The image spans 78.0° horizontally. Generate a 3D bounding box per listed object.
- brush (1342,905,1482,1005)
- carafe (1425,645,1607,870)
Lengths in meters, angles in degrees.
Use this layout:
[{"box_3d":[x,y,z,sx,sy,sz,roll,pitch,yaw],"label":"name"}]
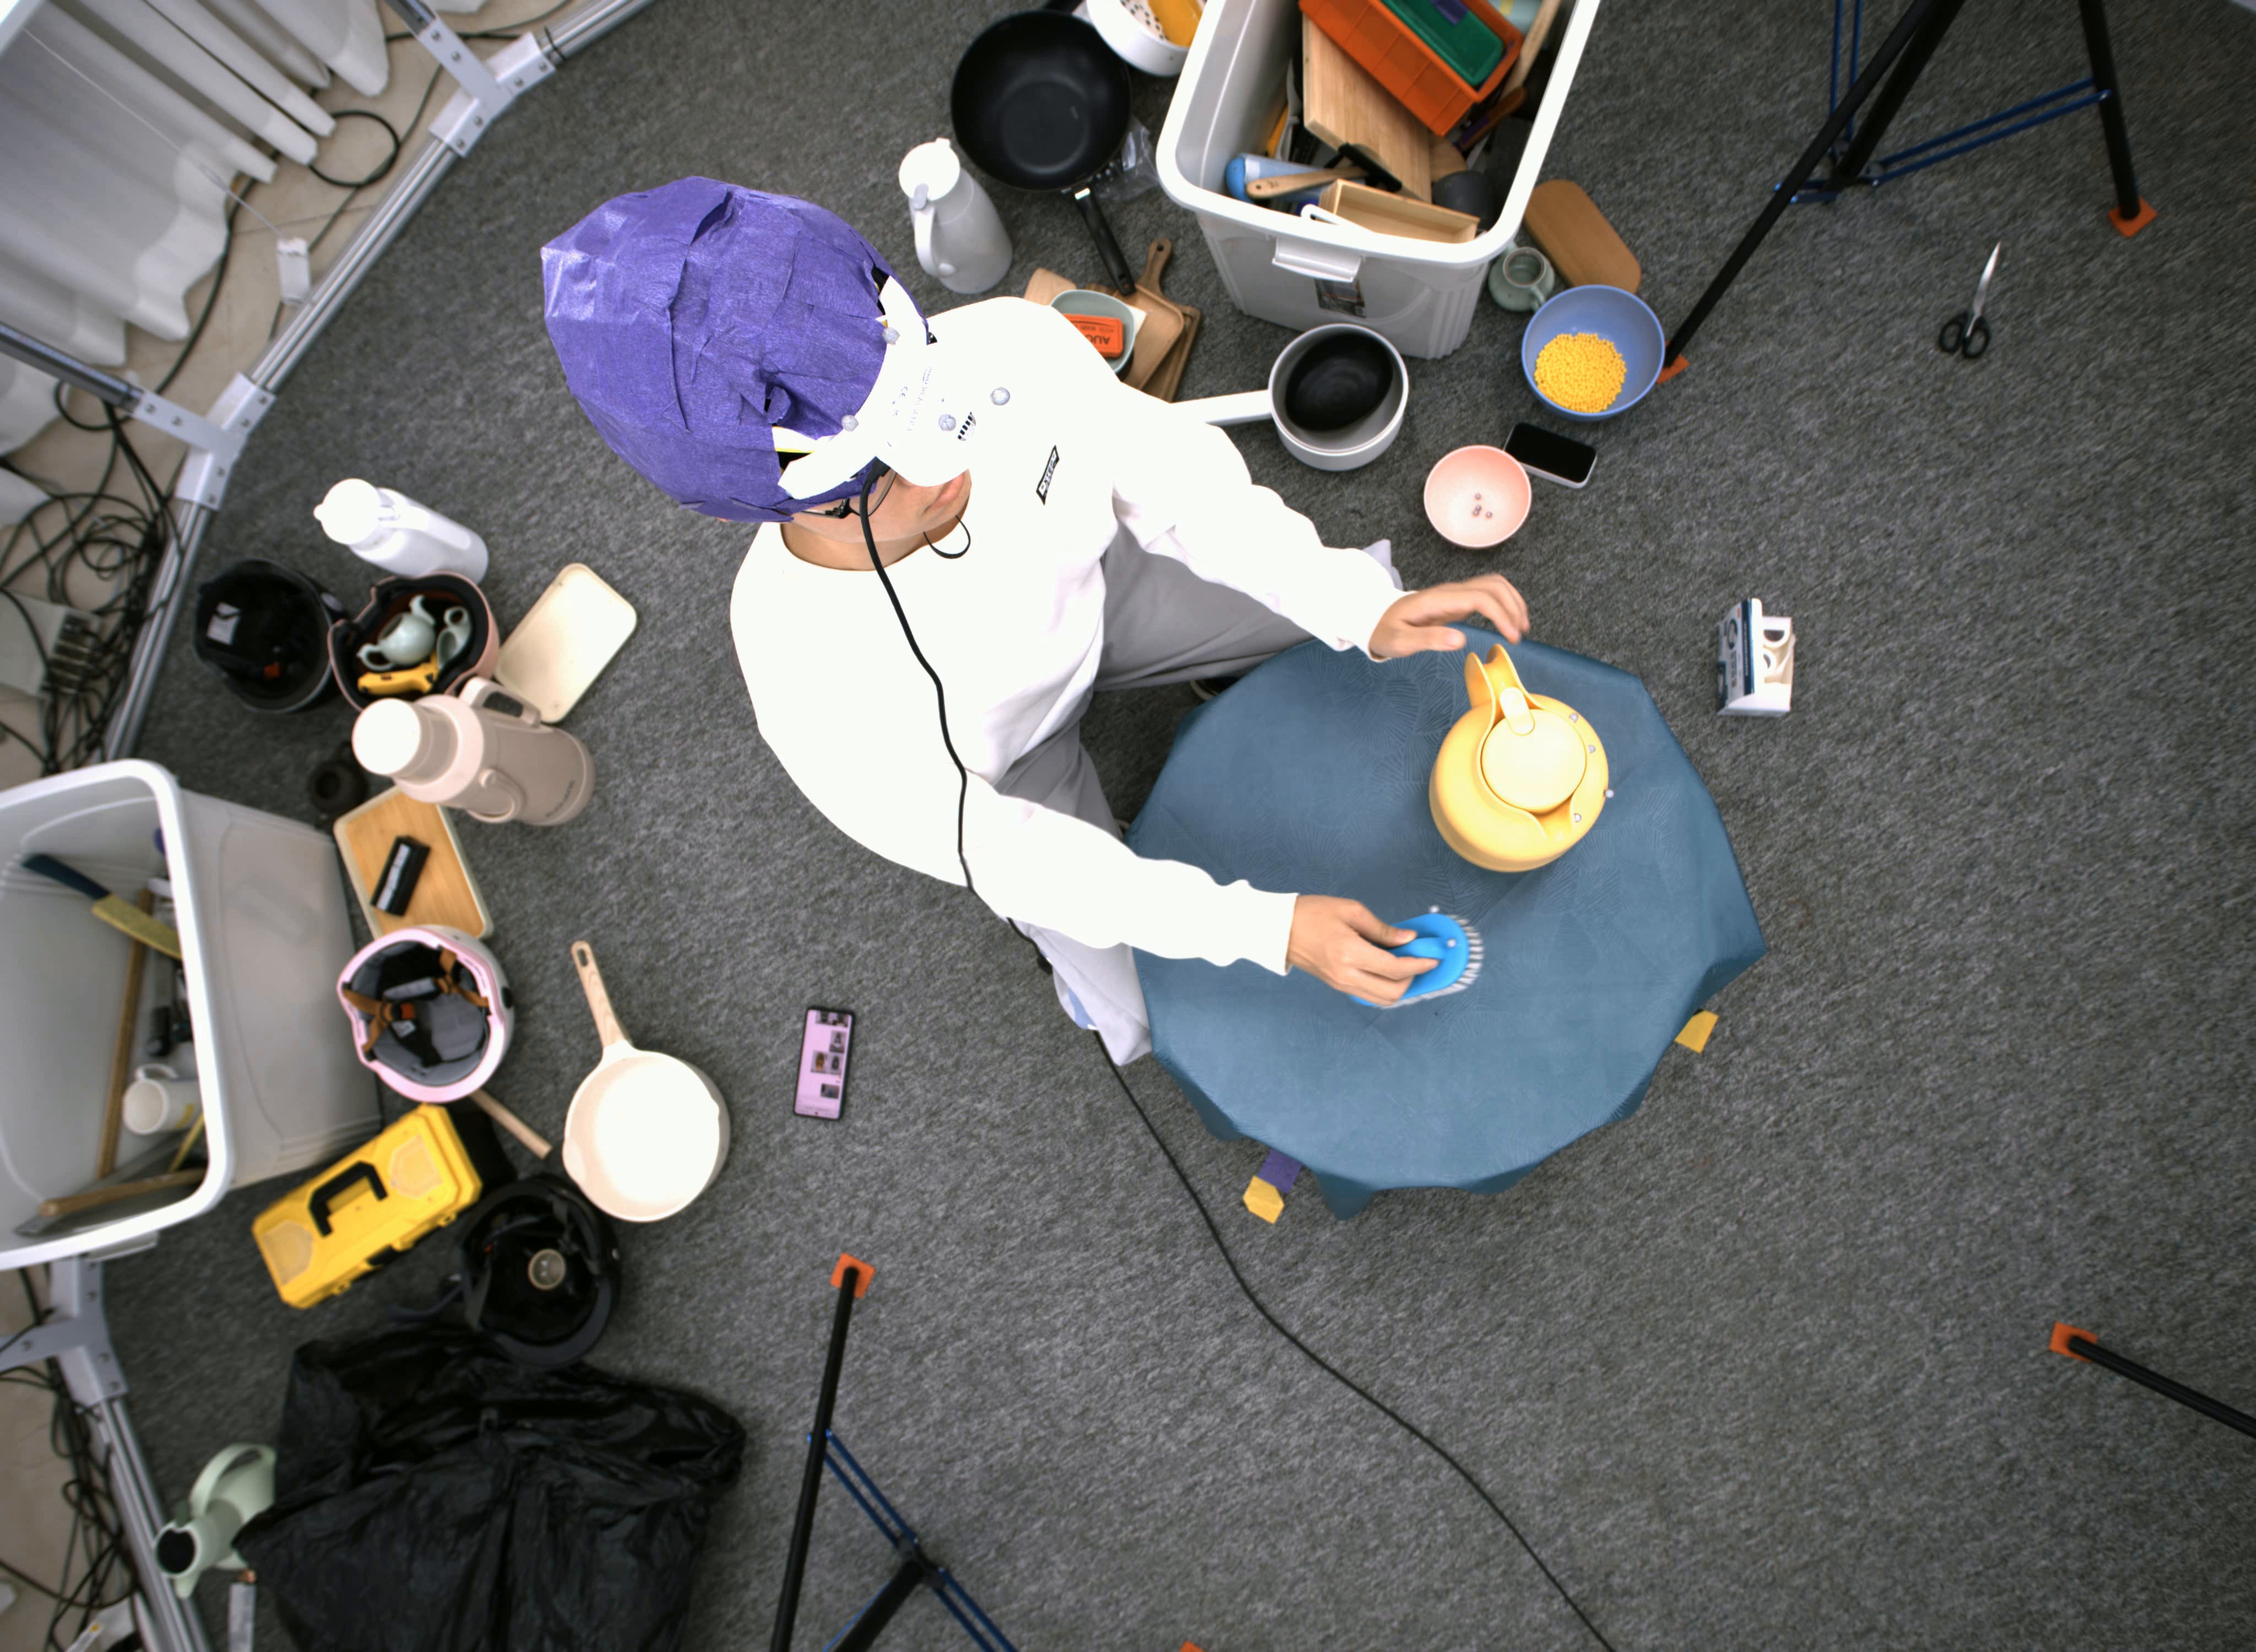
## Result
[{"box_3d":[0.263,0.123,1.316,0.144,0.063,0.083,-20,76,40],"label":"brush"},{"box_3d":[0.369,-0.066,1.316,0.164,0.261,0.201,-17,83,6],"label":"carafe"}]
